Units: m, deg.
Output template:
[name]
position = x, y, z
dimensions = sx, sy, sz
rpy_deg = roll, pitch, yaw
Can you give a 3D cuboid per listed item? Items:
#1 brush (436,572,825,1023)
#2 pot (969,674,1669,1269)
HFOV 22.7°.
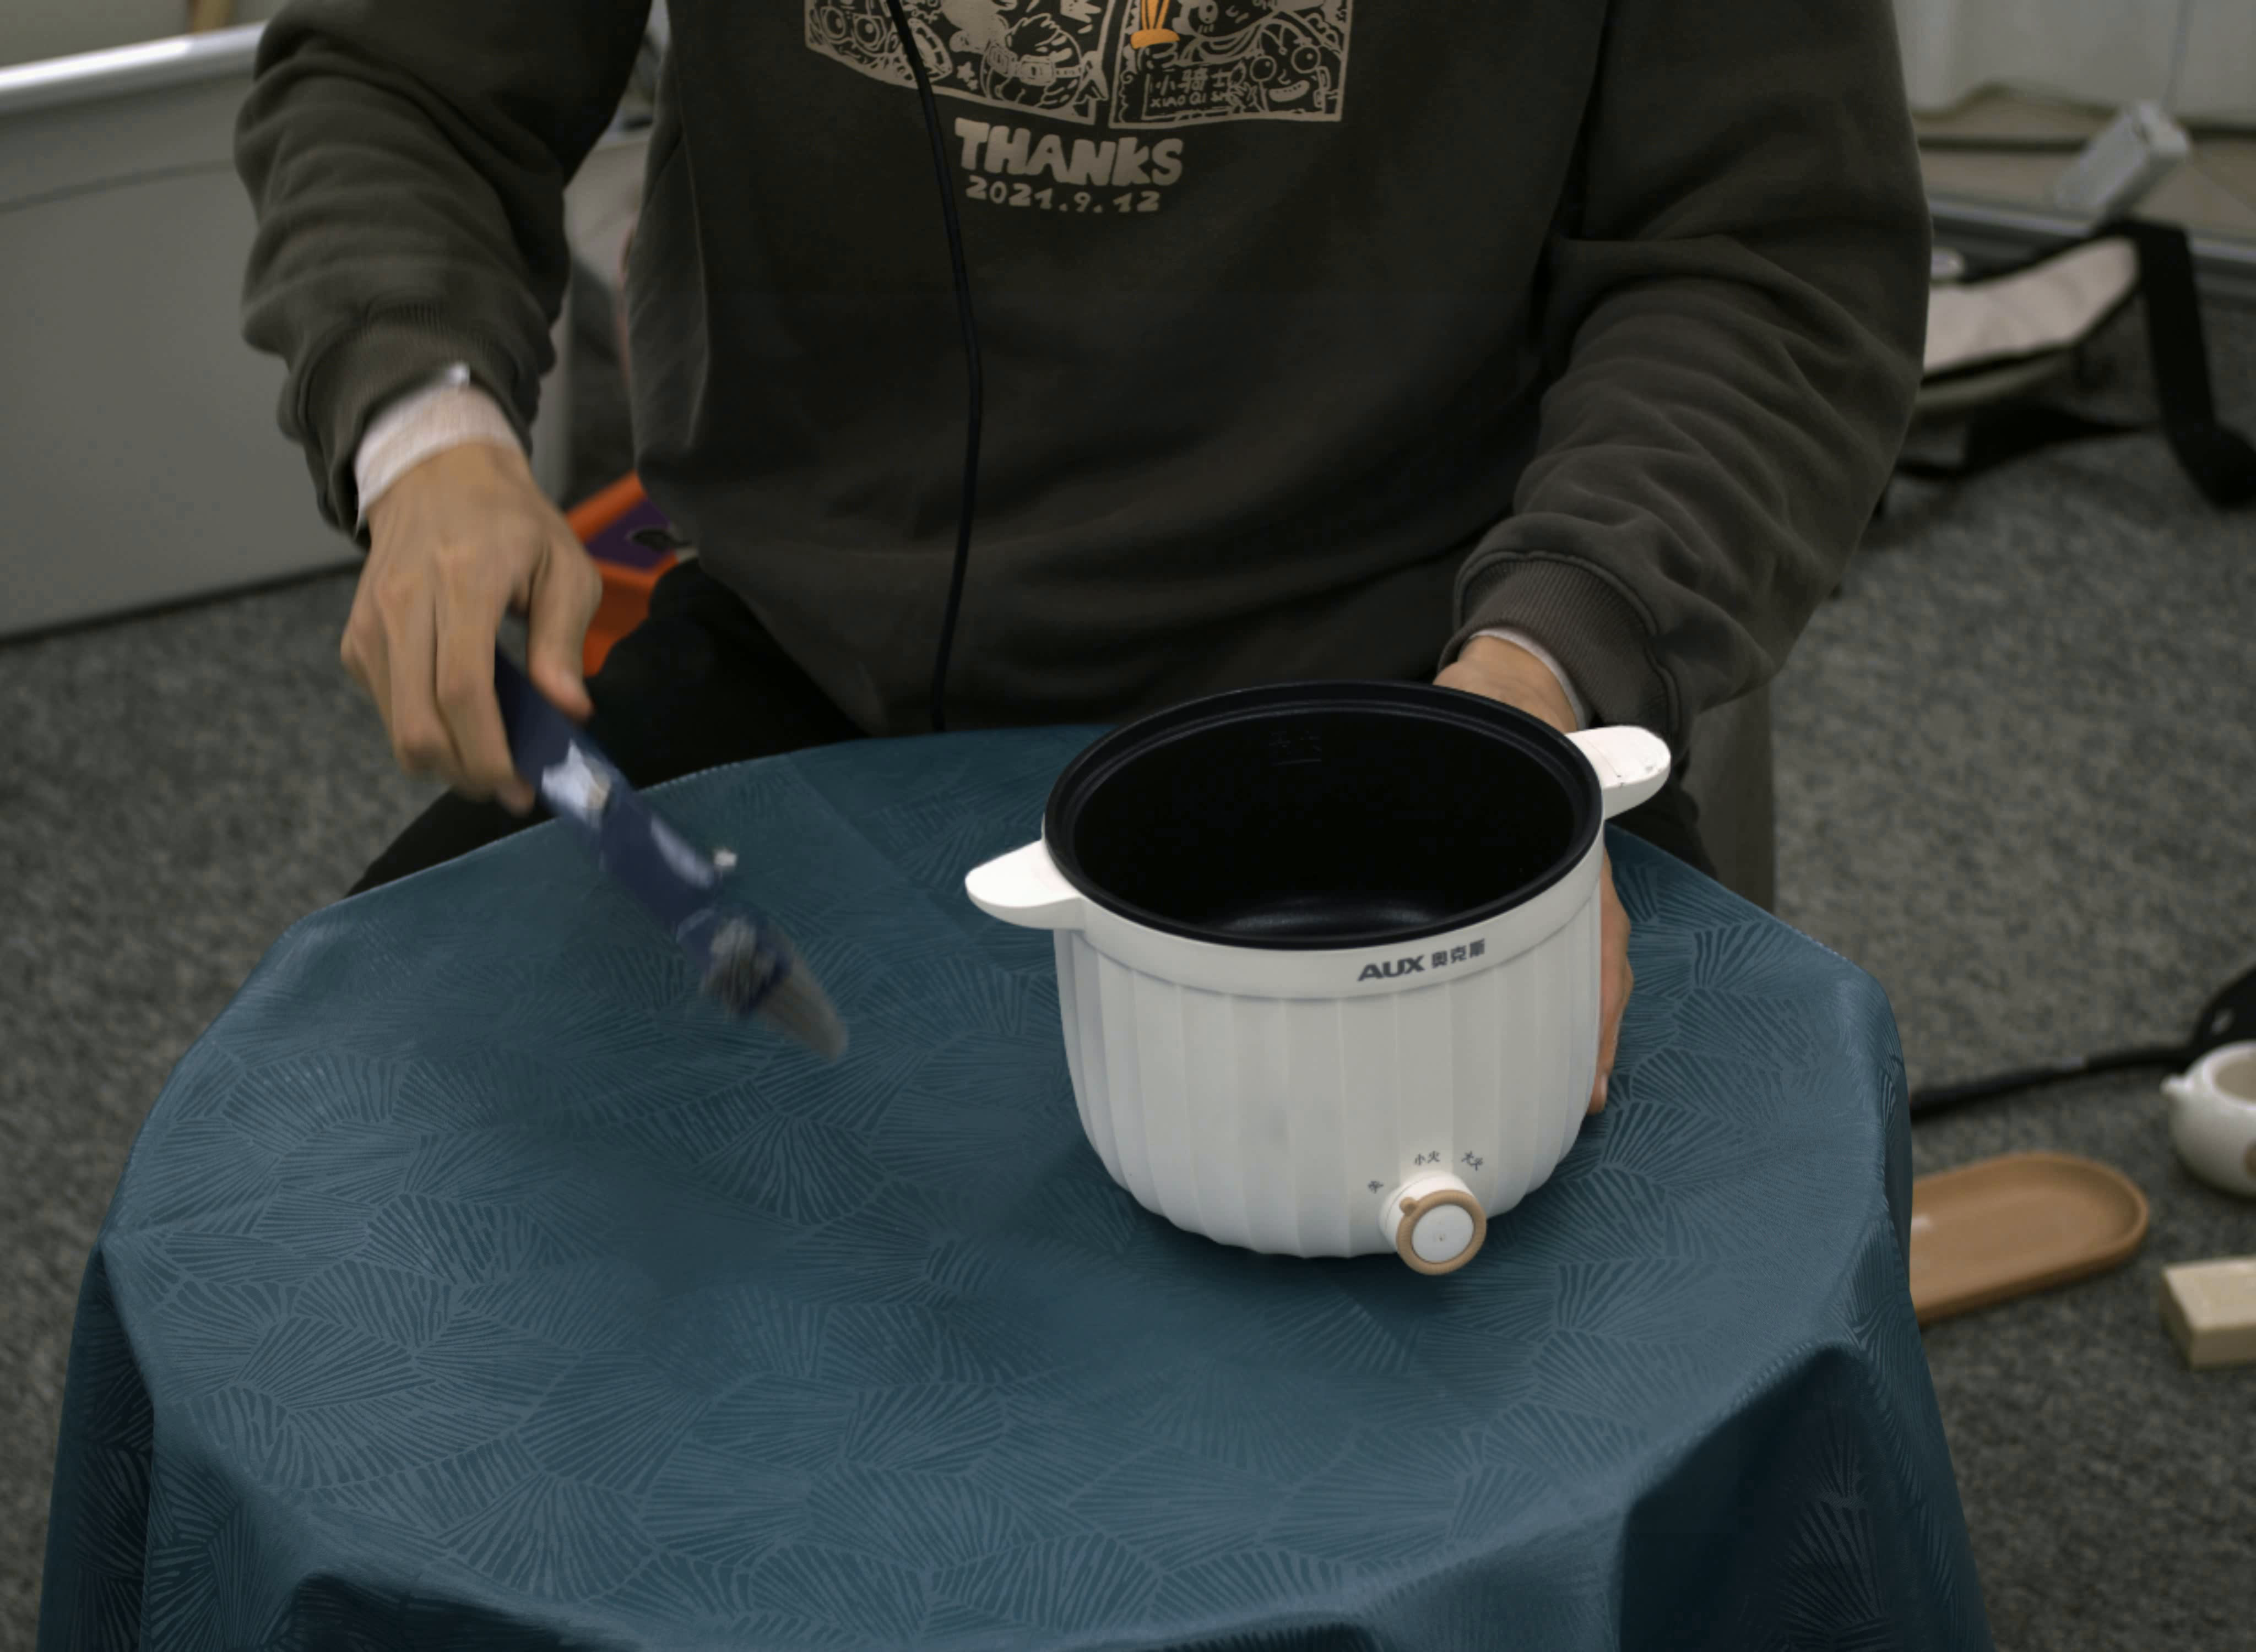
[brush]
position = -0.176, -0.017, 1.856
dimensions = 0.095, 0.033, 0.275
rpy_deg = 33, 8, -48
[pot]
position = 0.070, 0.052, 1.837
dimensions = 0.241, 0.141, 0.192
rpy_deg = -13, 25, -15
